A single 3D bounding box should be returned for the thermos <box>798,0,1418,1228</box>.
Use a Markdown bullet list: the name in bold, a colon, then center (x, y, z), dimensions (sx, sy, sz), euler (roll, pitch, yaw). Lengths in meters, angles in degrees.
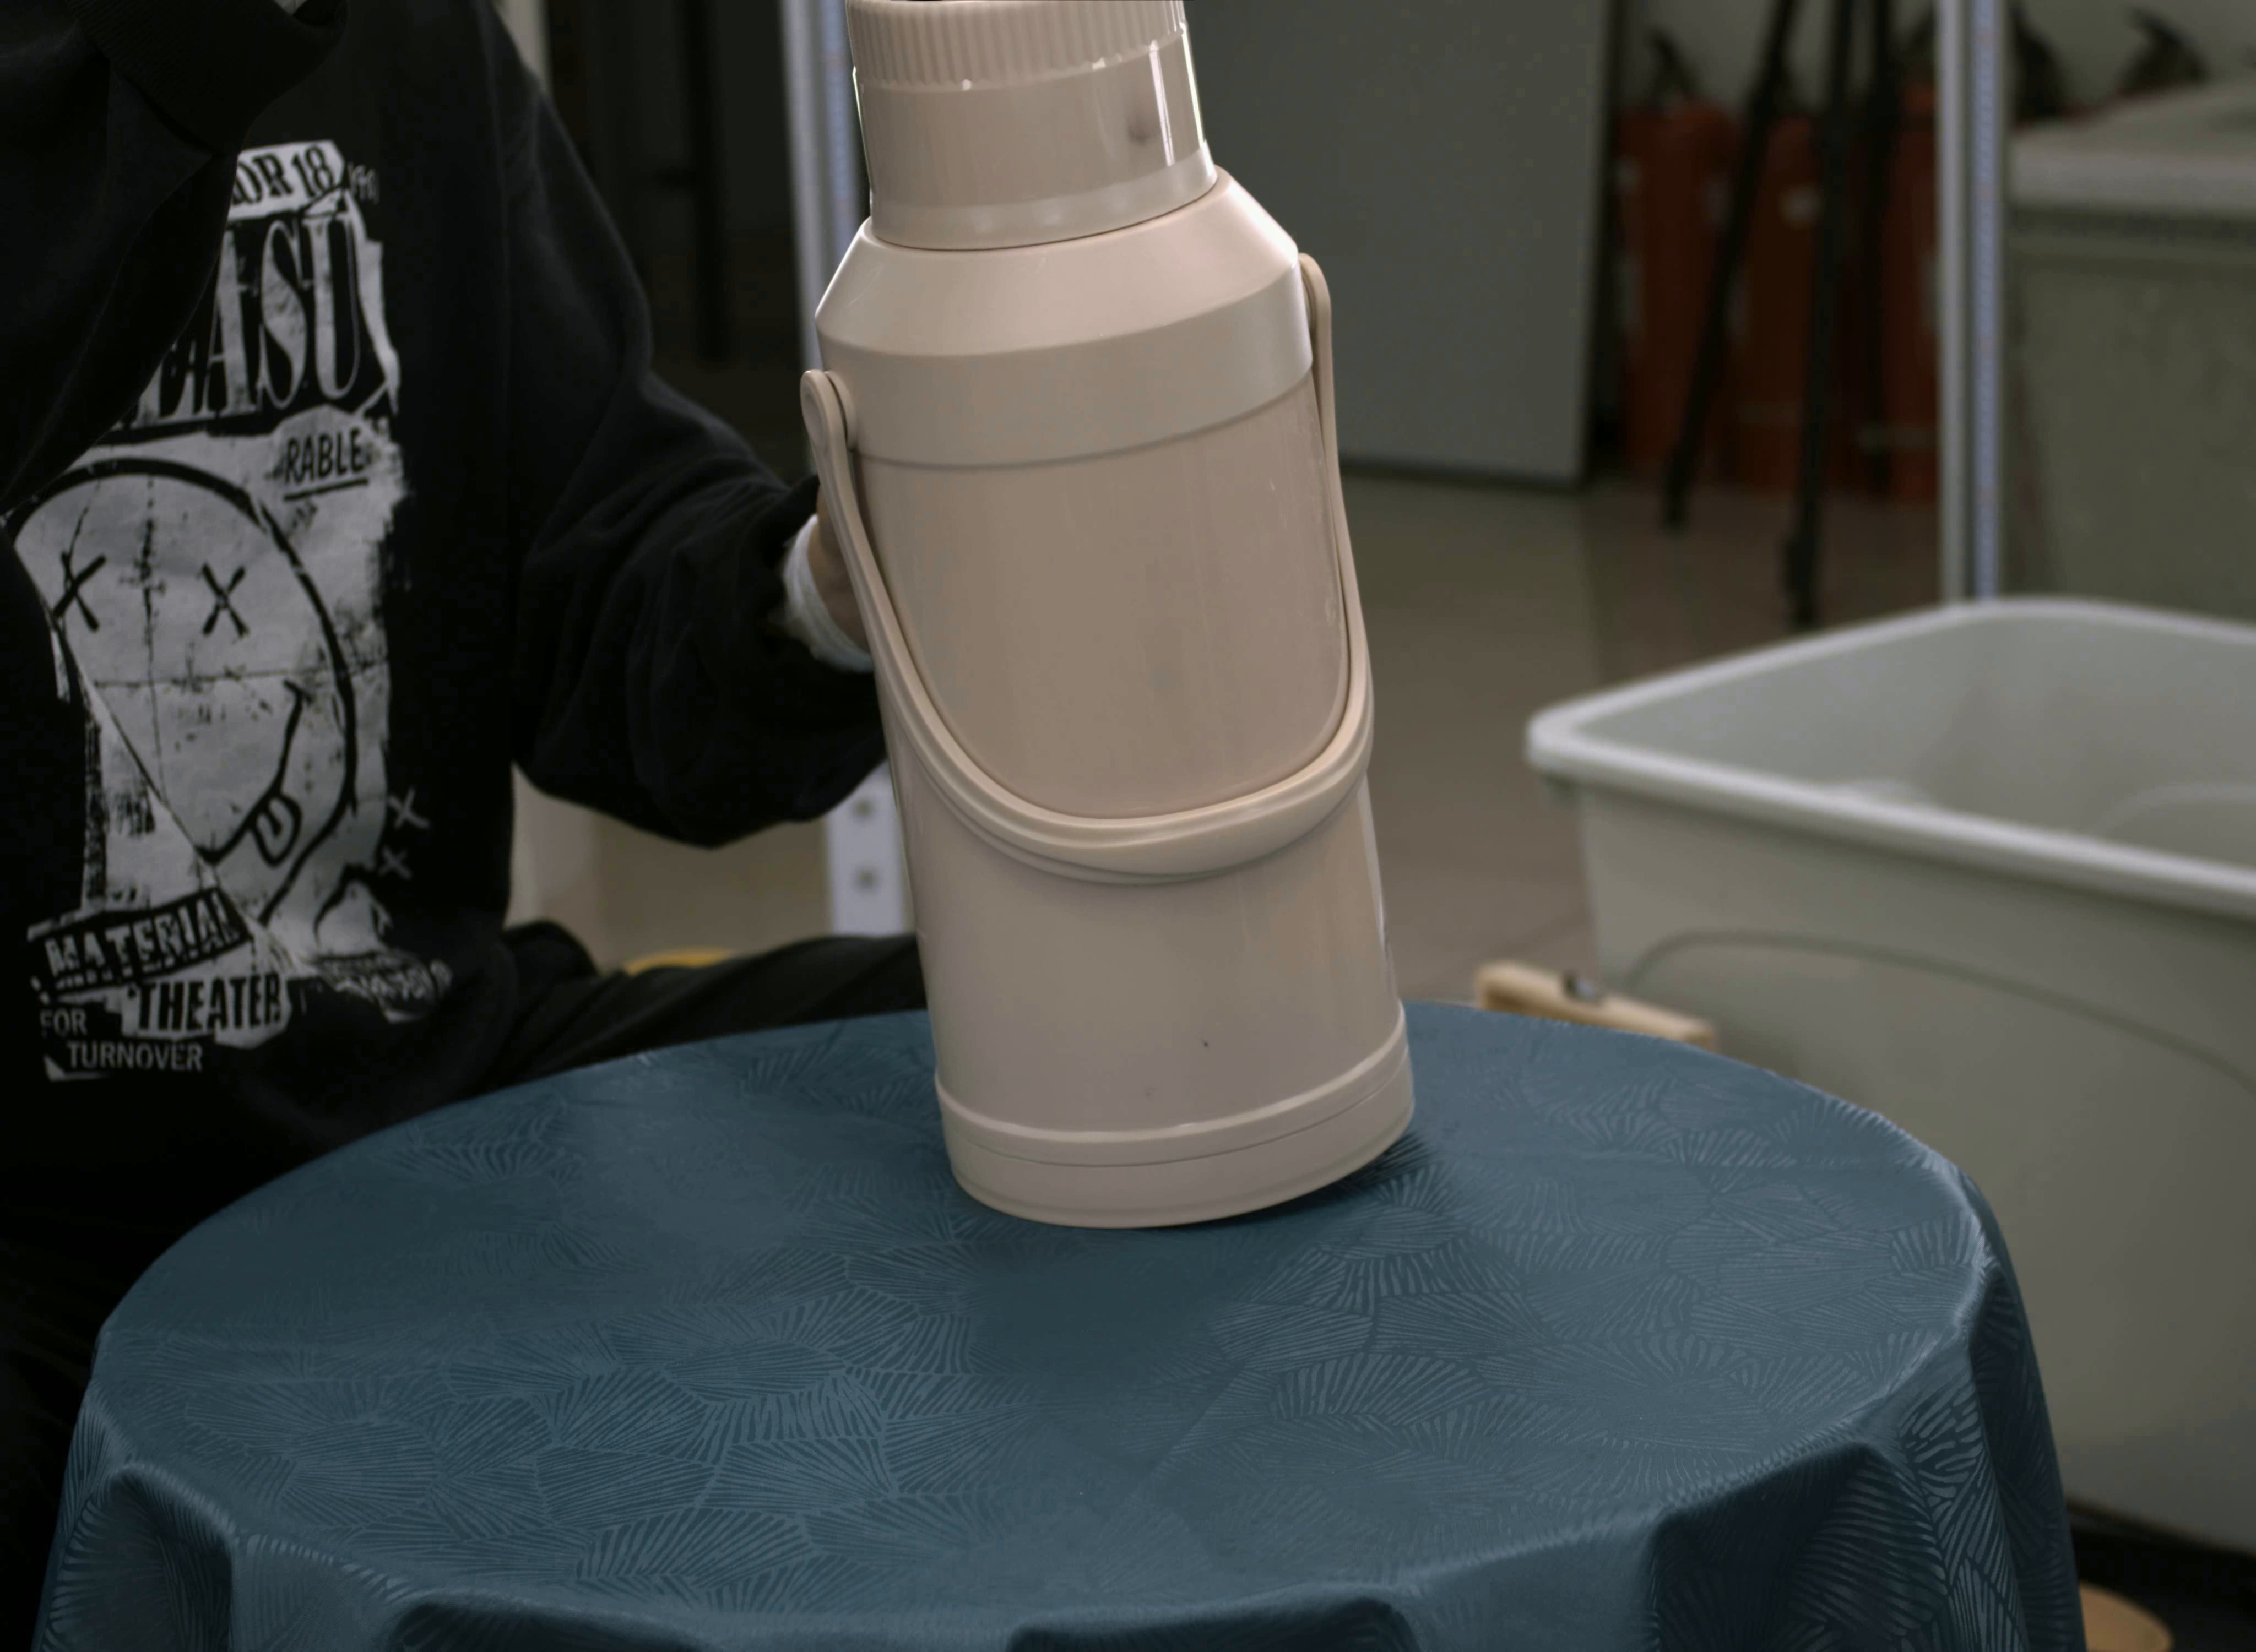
- **thermos**: center (-0.014, -0.088, 1.757), dimensions (0.172, 0.409, 0.209), euler (-17, 20, -18)
